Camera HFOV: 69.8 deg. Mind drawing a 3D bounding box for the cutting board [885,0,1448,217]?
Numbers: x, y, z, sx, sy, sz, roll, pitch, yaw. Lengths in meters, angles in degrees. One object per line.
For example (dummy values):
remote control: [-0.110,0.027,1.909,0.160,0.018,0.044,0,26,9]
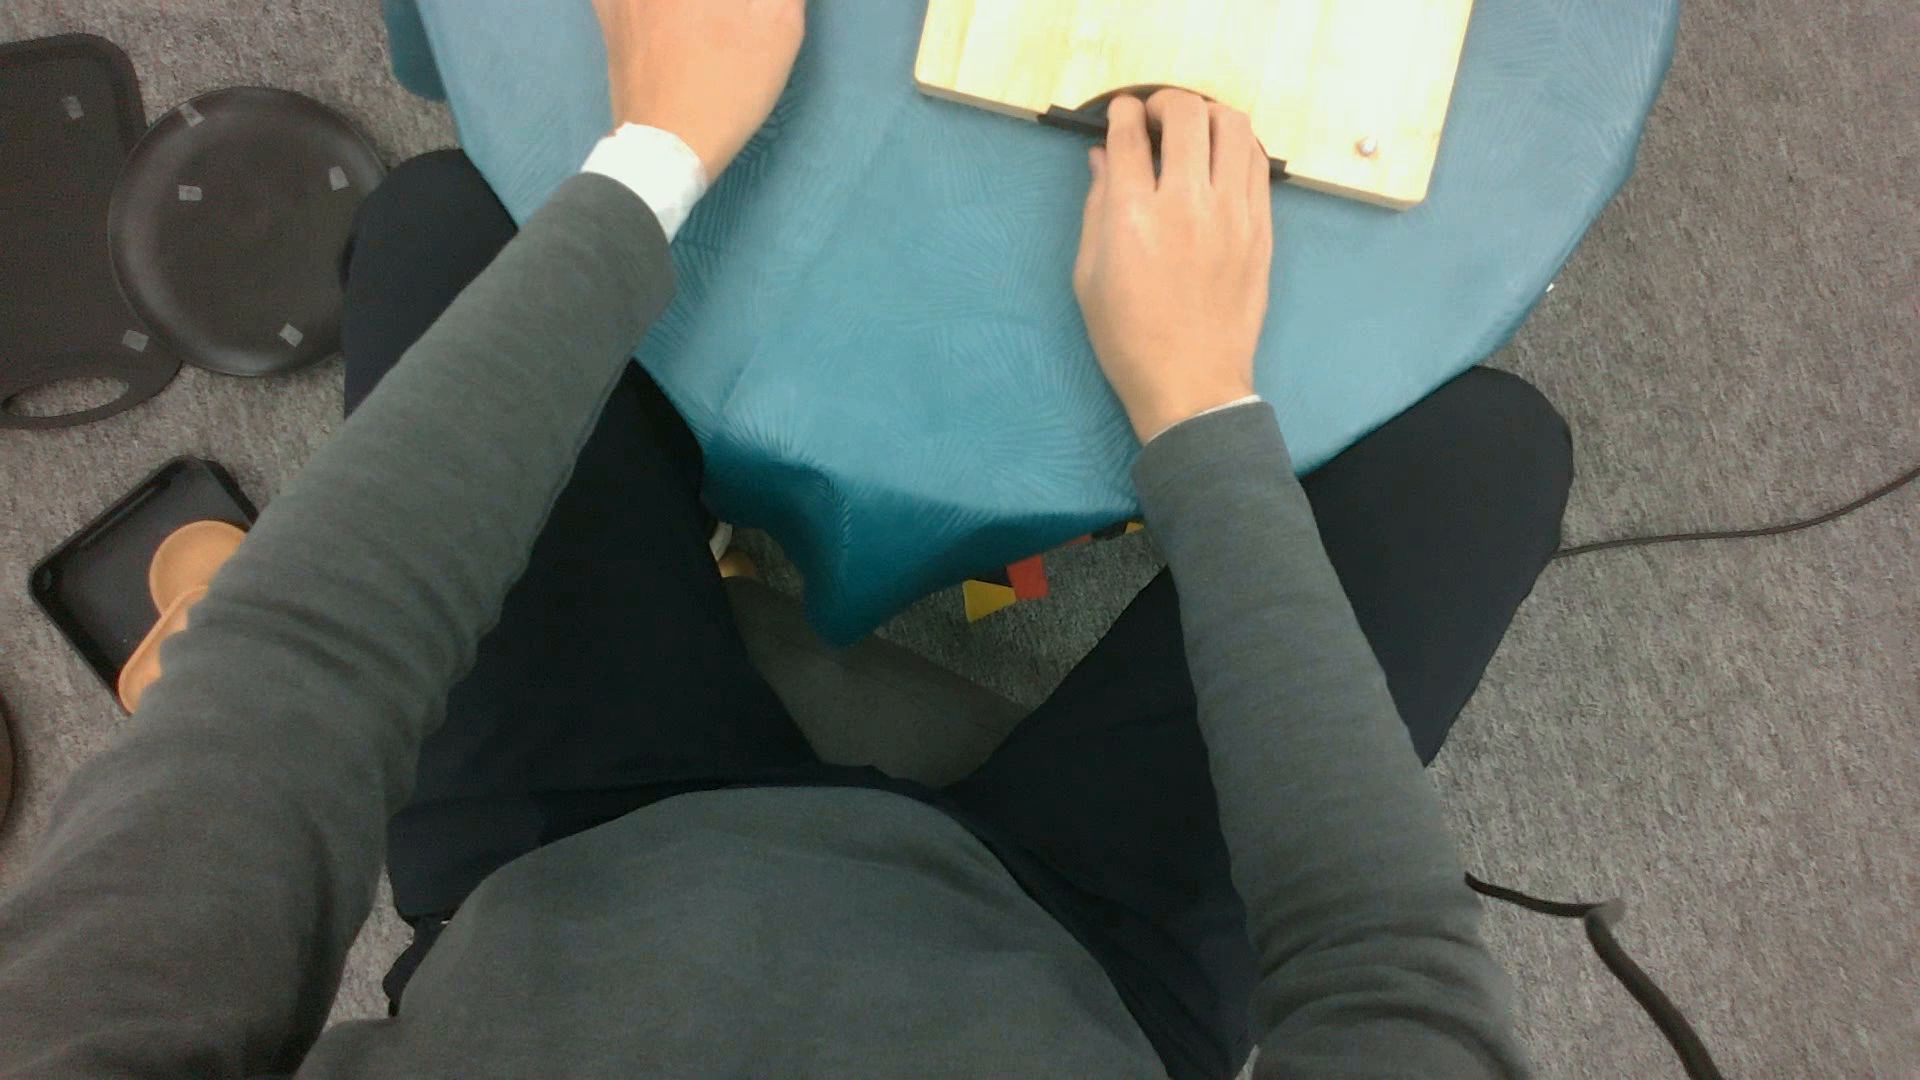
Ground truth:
cutting board: [0.123,-0.346,0.636,0.251,0.023,0.348,12,91,-2]
